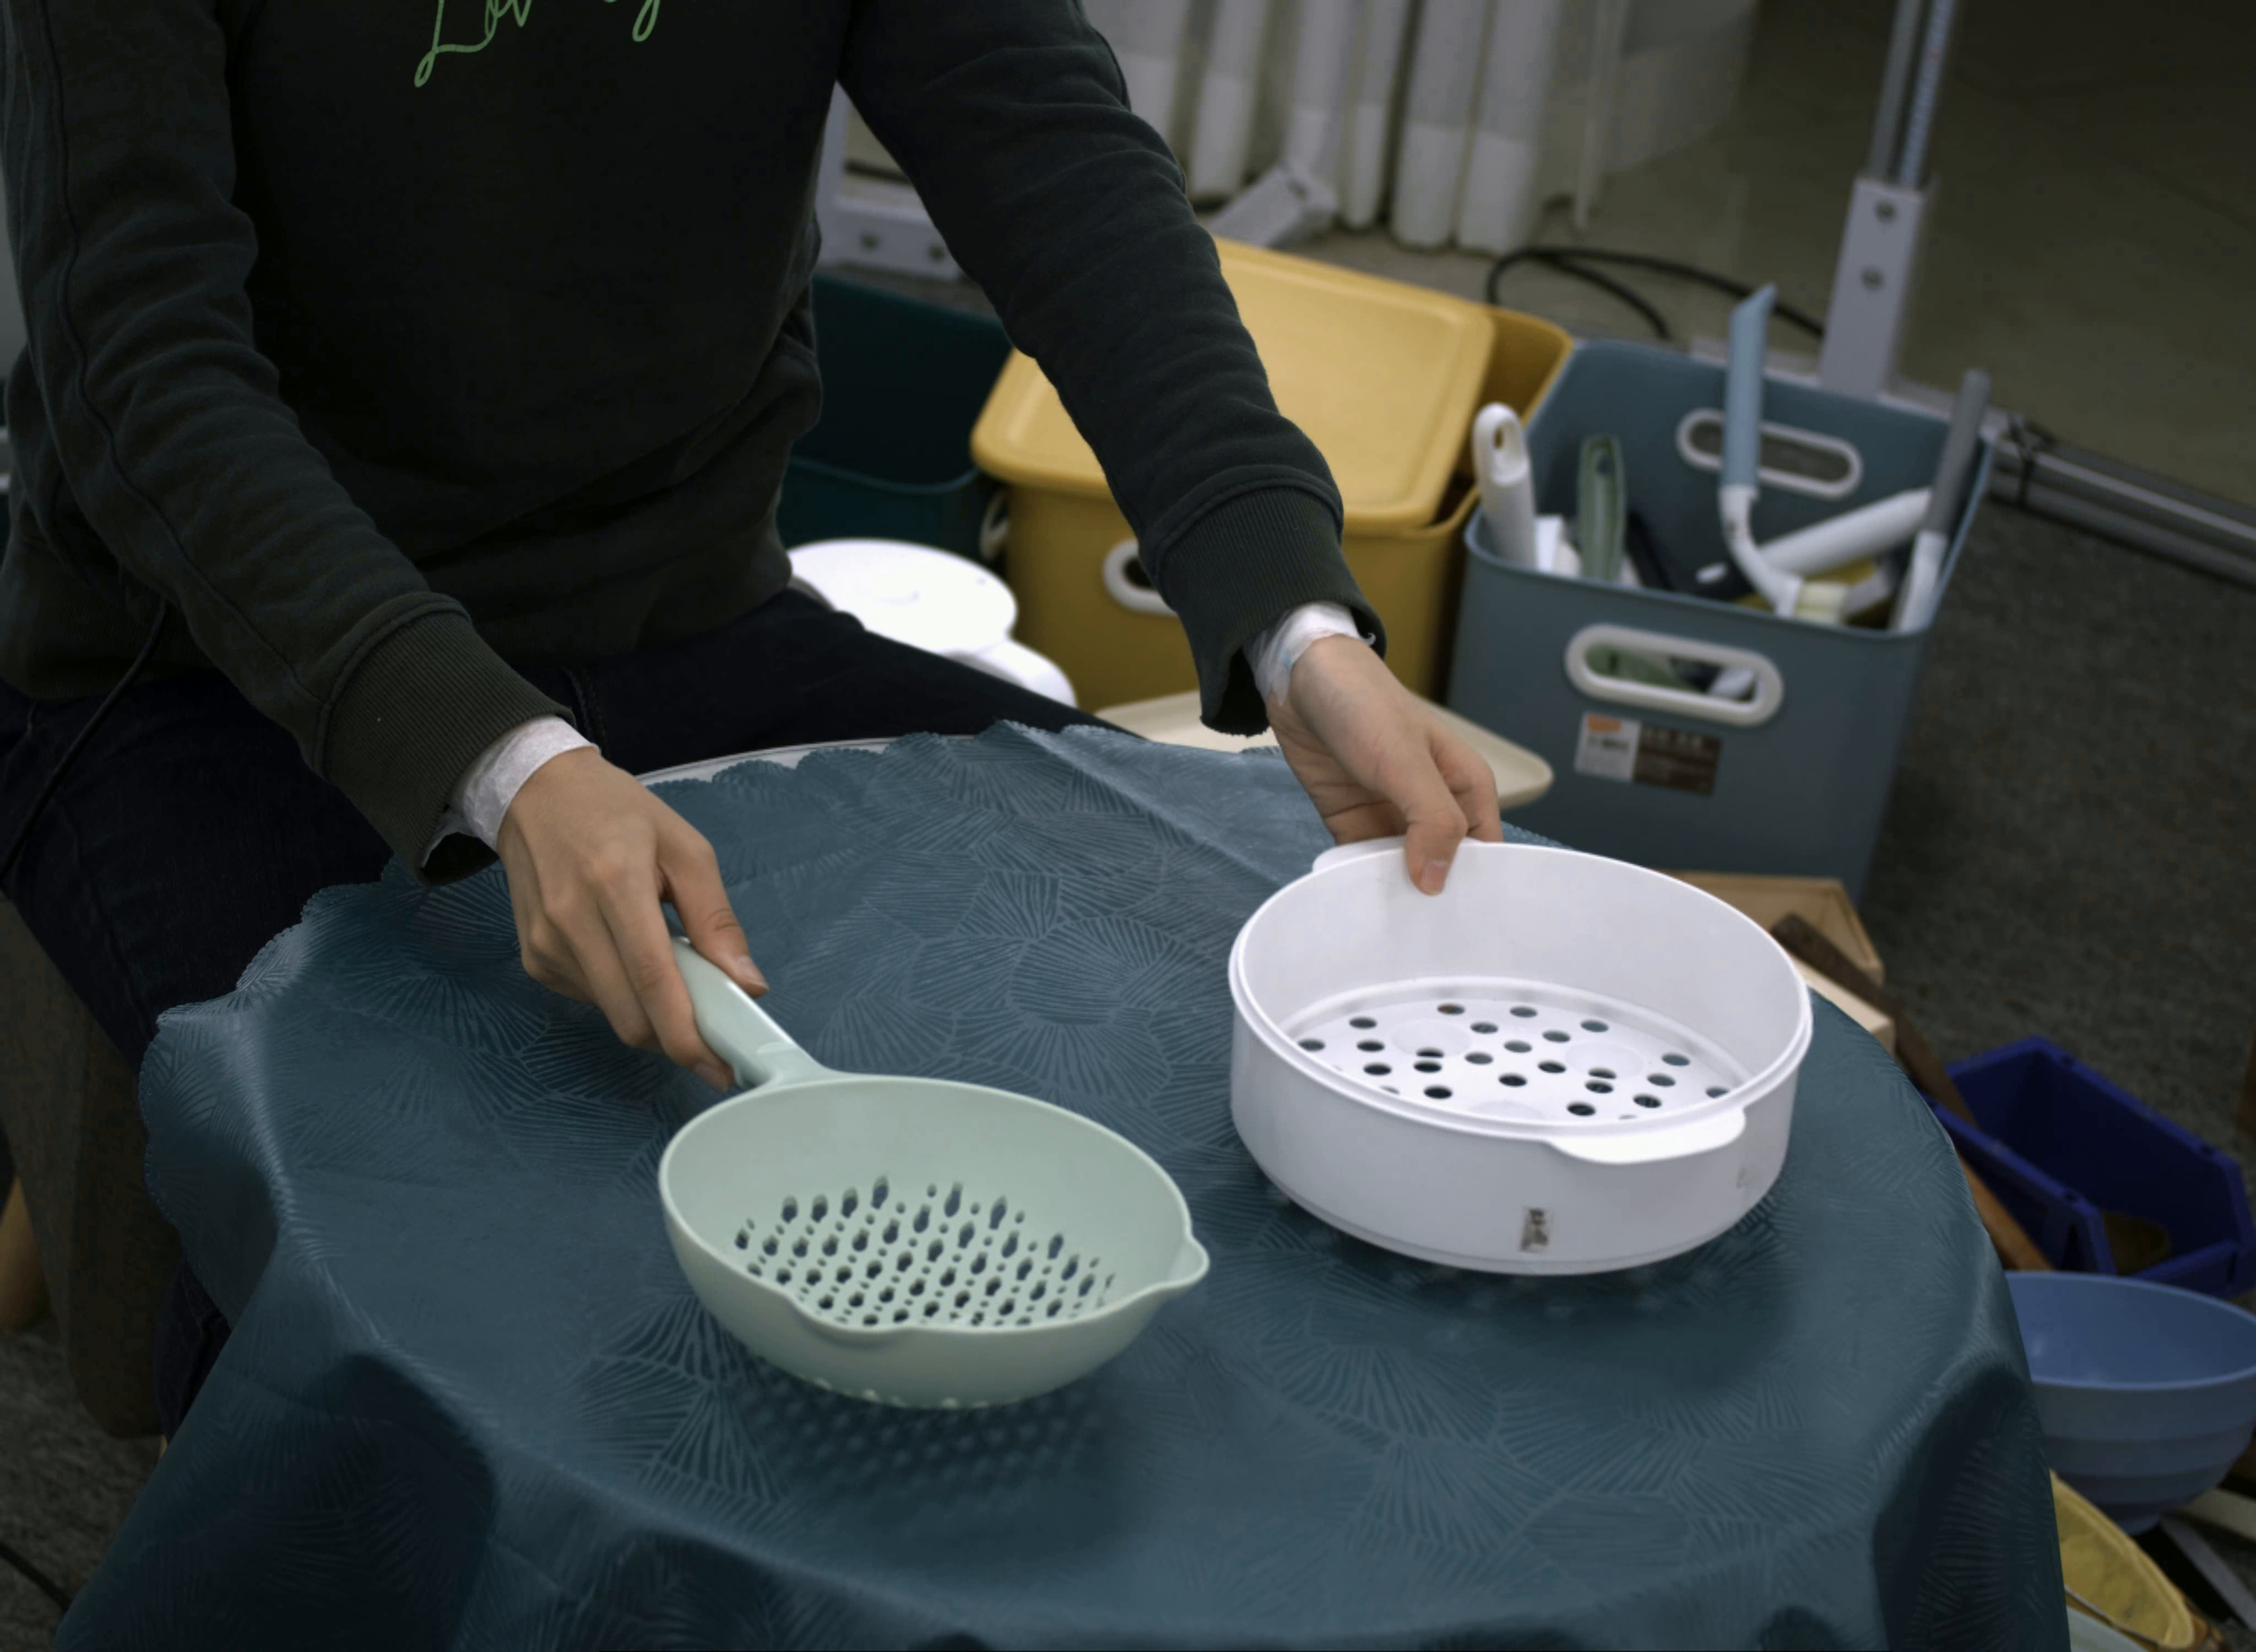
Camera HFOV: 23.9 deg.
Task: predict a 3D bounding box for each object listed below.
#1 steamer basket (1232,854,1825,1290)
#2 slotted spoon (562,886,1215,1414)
[{"bbox_3d":[0.135,0.085,1.820,0.200,0.069,0.232,-8,28,-22],"label":"steamer basket"},{"bbox_3d":[-0.110,0.091,1.751,0.168,0.075,0.362,-5,33,-29],"label":"slotted spoon"}]
